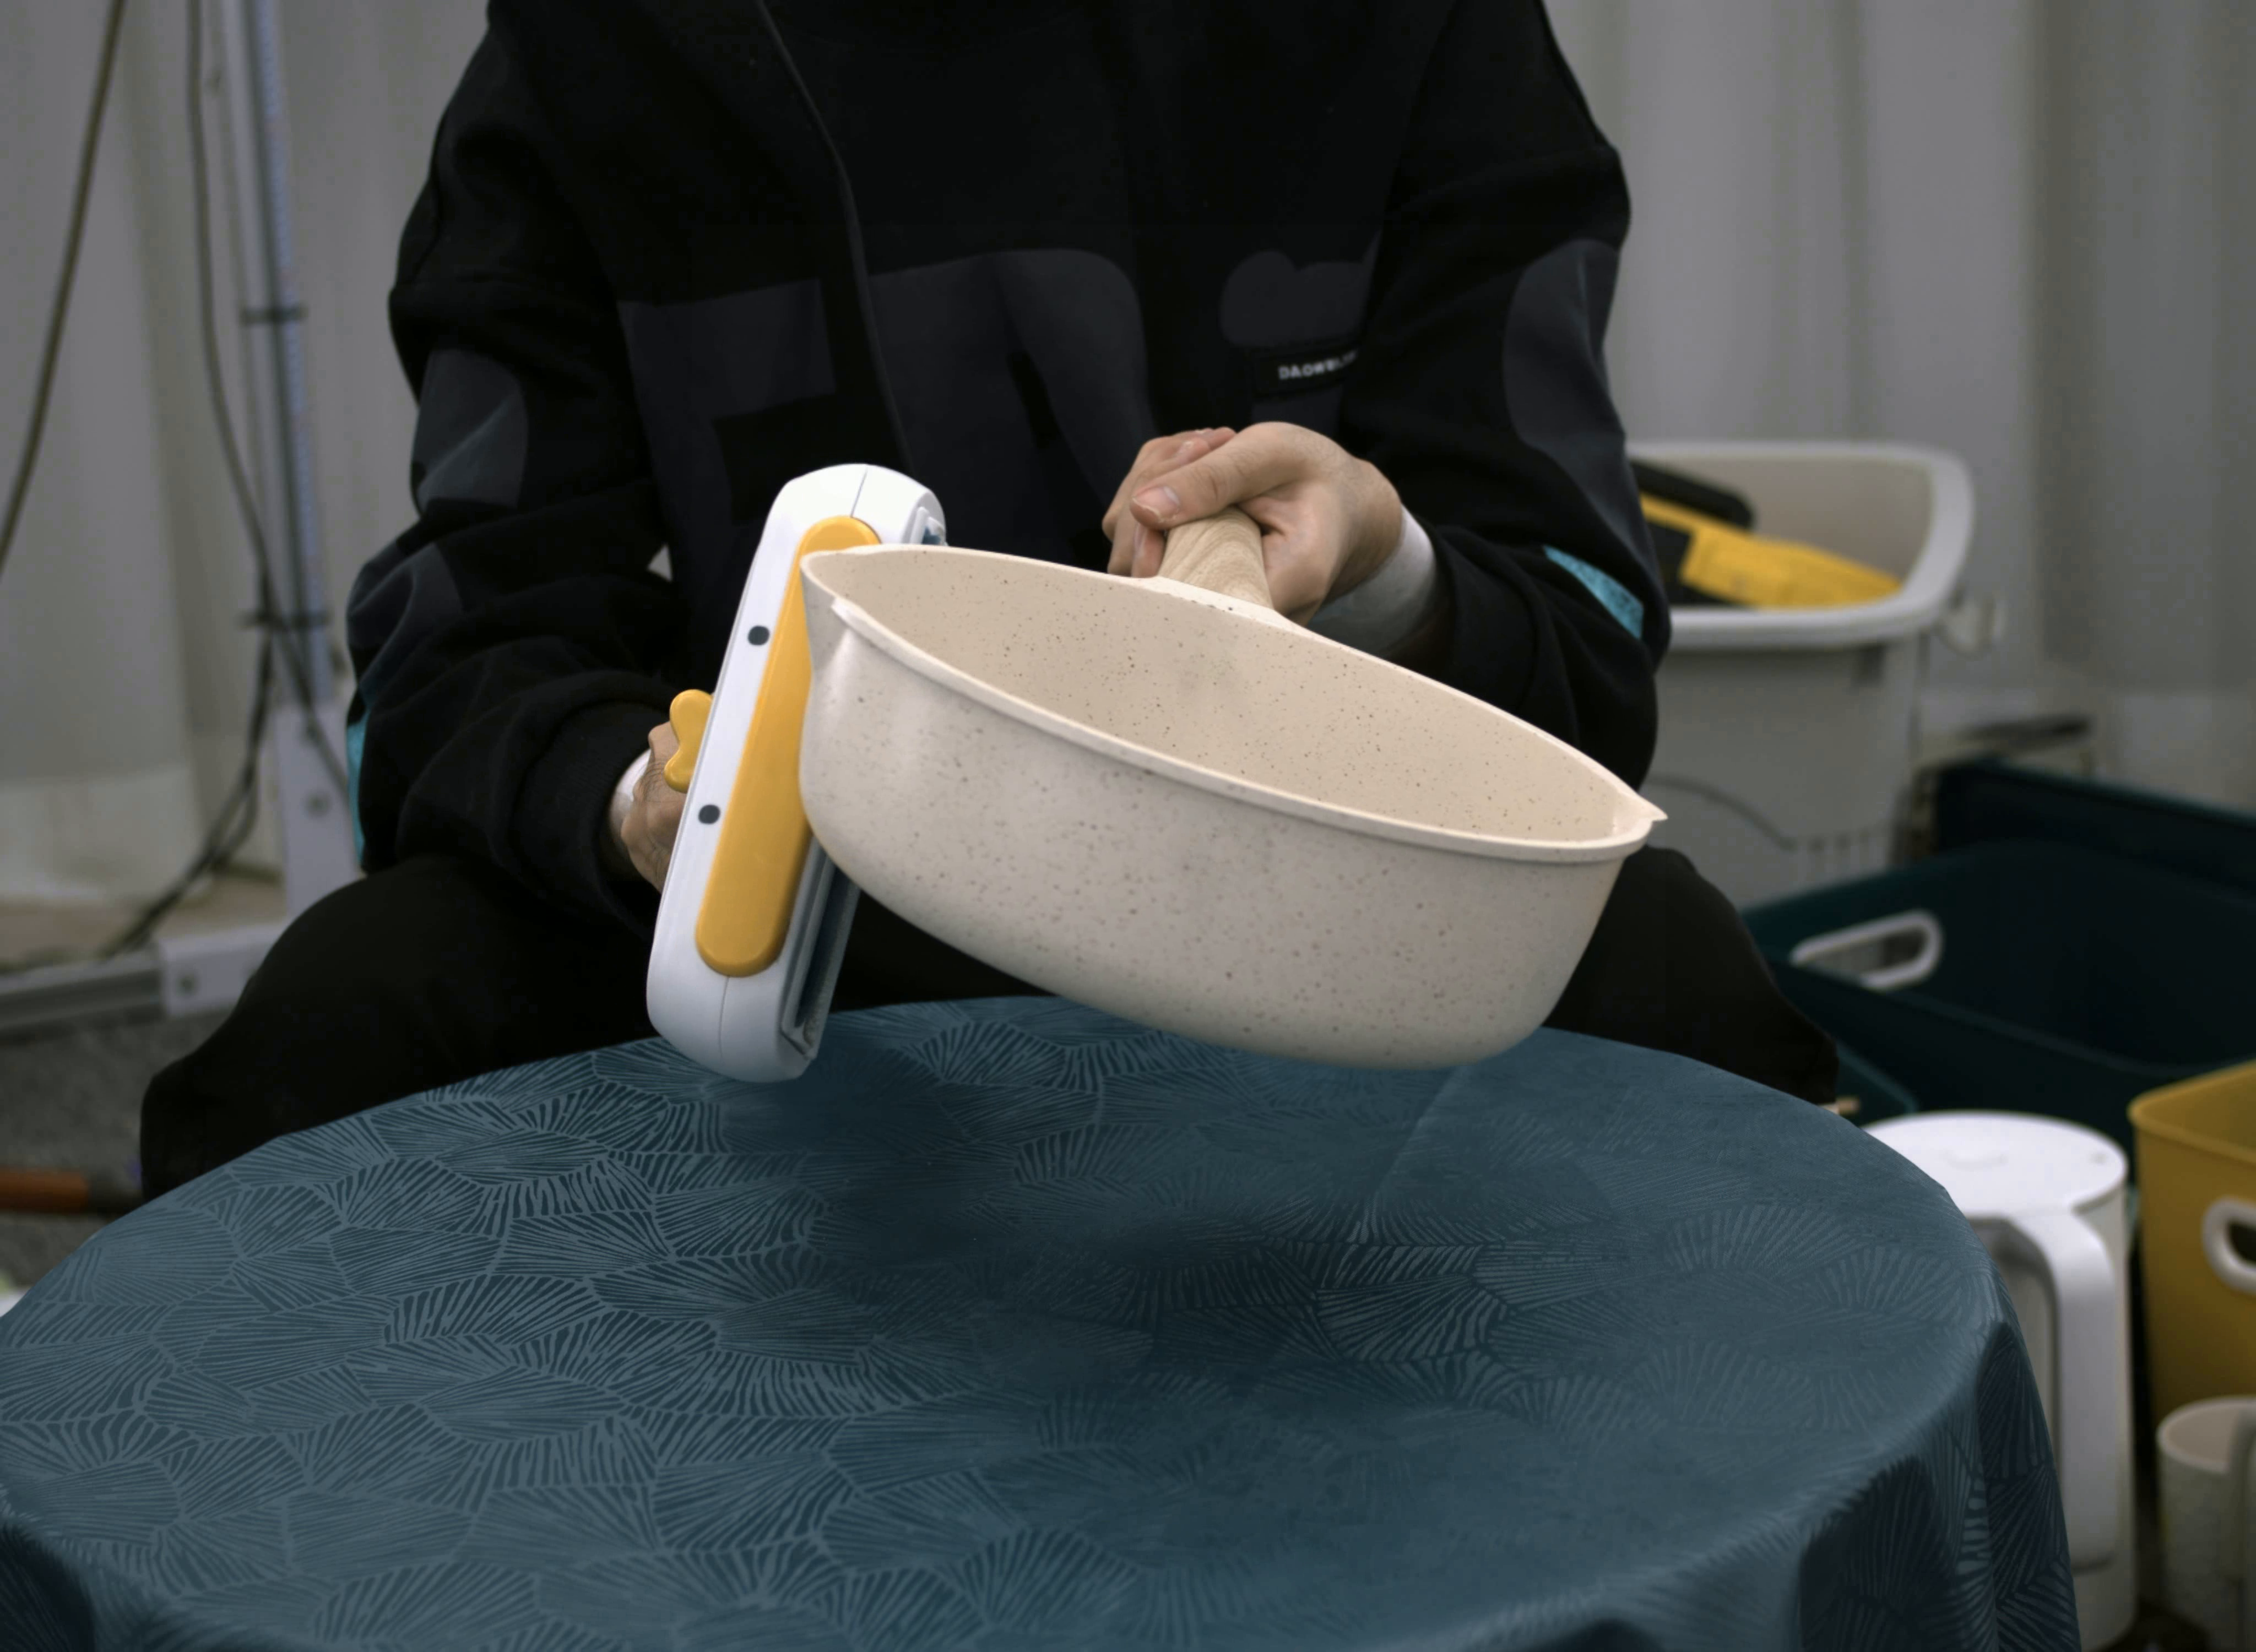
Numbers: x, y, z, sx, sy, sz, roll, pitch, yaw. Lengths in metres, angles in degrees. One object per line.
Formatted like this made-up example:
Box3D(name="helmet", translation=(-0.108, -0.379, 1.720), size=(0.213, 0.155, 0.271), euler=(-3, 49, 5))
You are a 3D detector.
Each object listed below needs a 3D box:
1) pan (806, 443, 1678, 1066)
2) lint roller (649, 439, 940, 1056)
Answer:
Box3D(name="pan", translation=(0.022, -0.031, 1.679), size=(0.262, 0.102, 0.438), euler=(14, 13, -6))
Box3D(name="lint roller", translation=(-0.108, -0.010, 1.729), size=(0.074, 0.195, 0.191), euler=(9, -17, 2))
